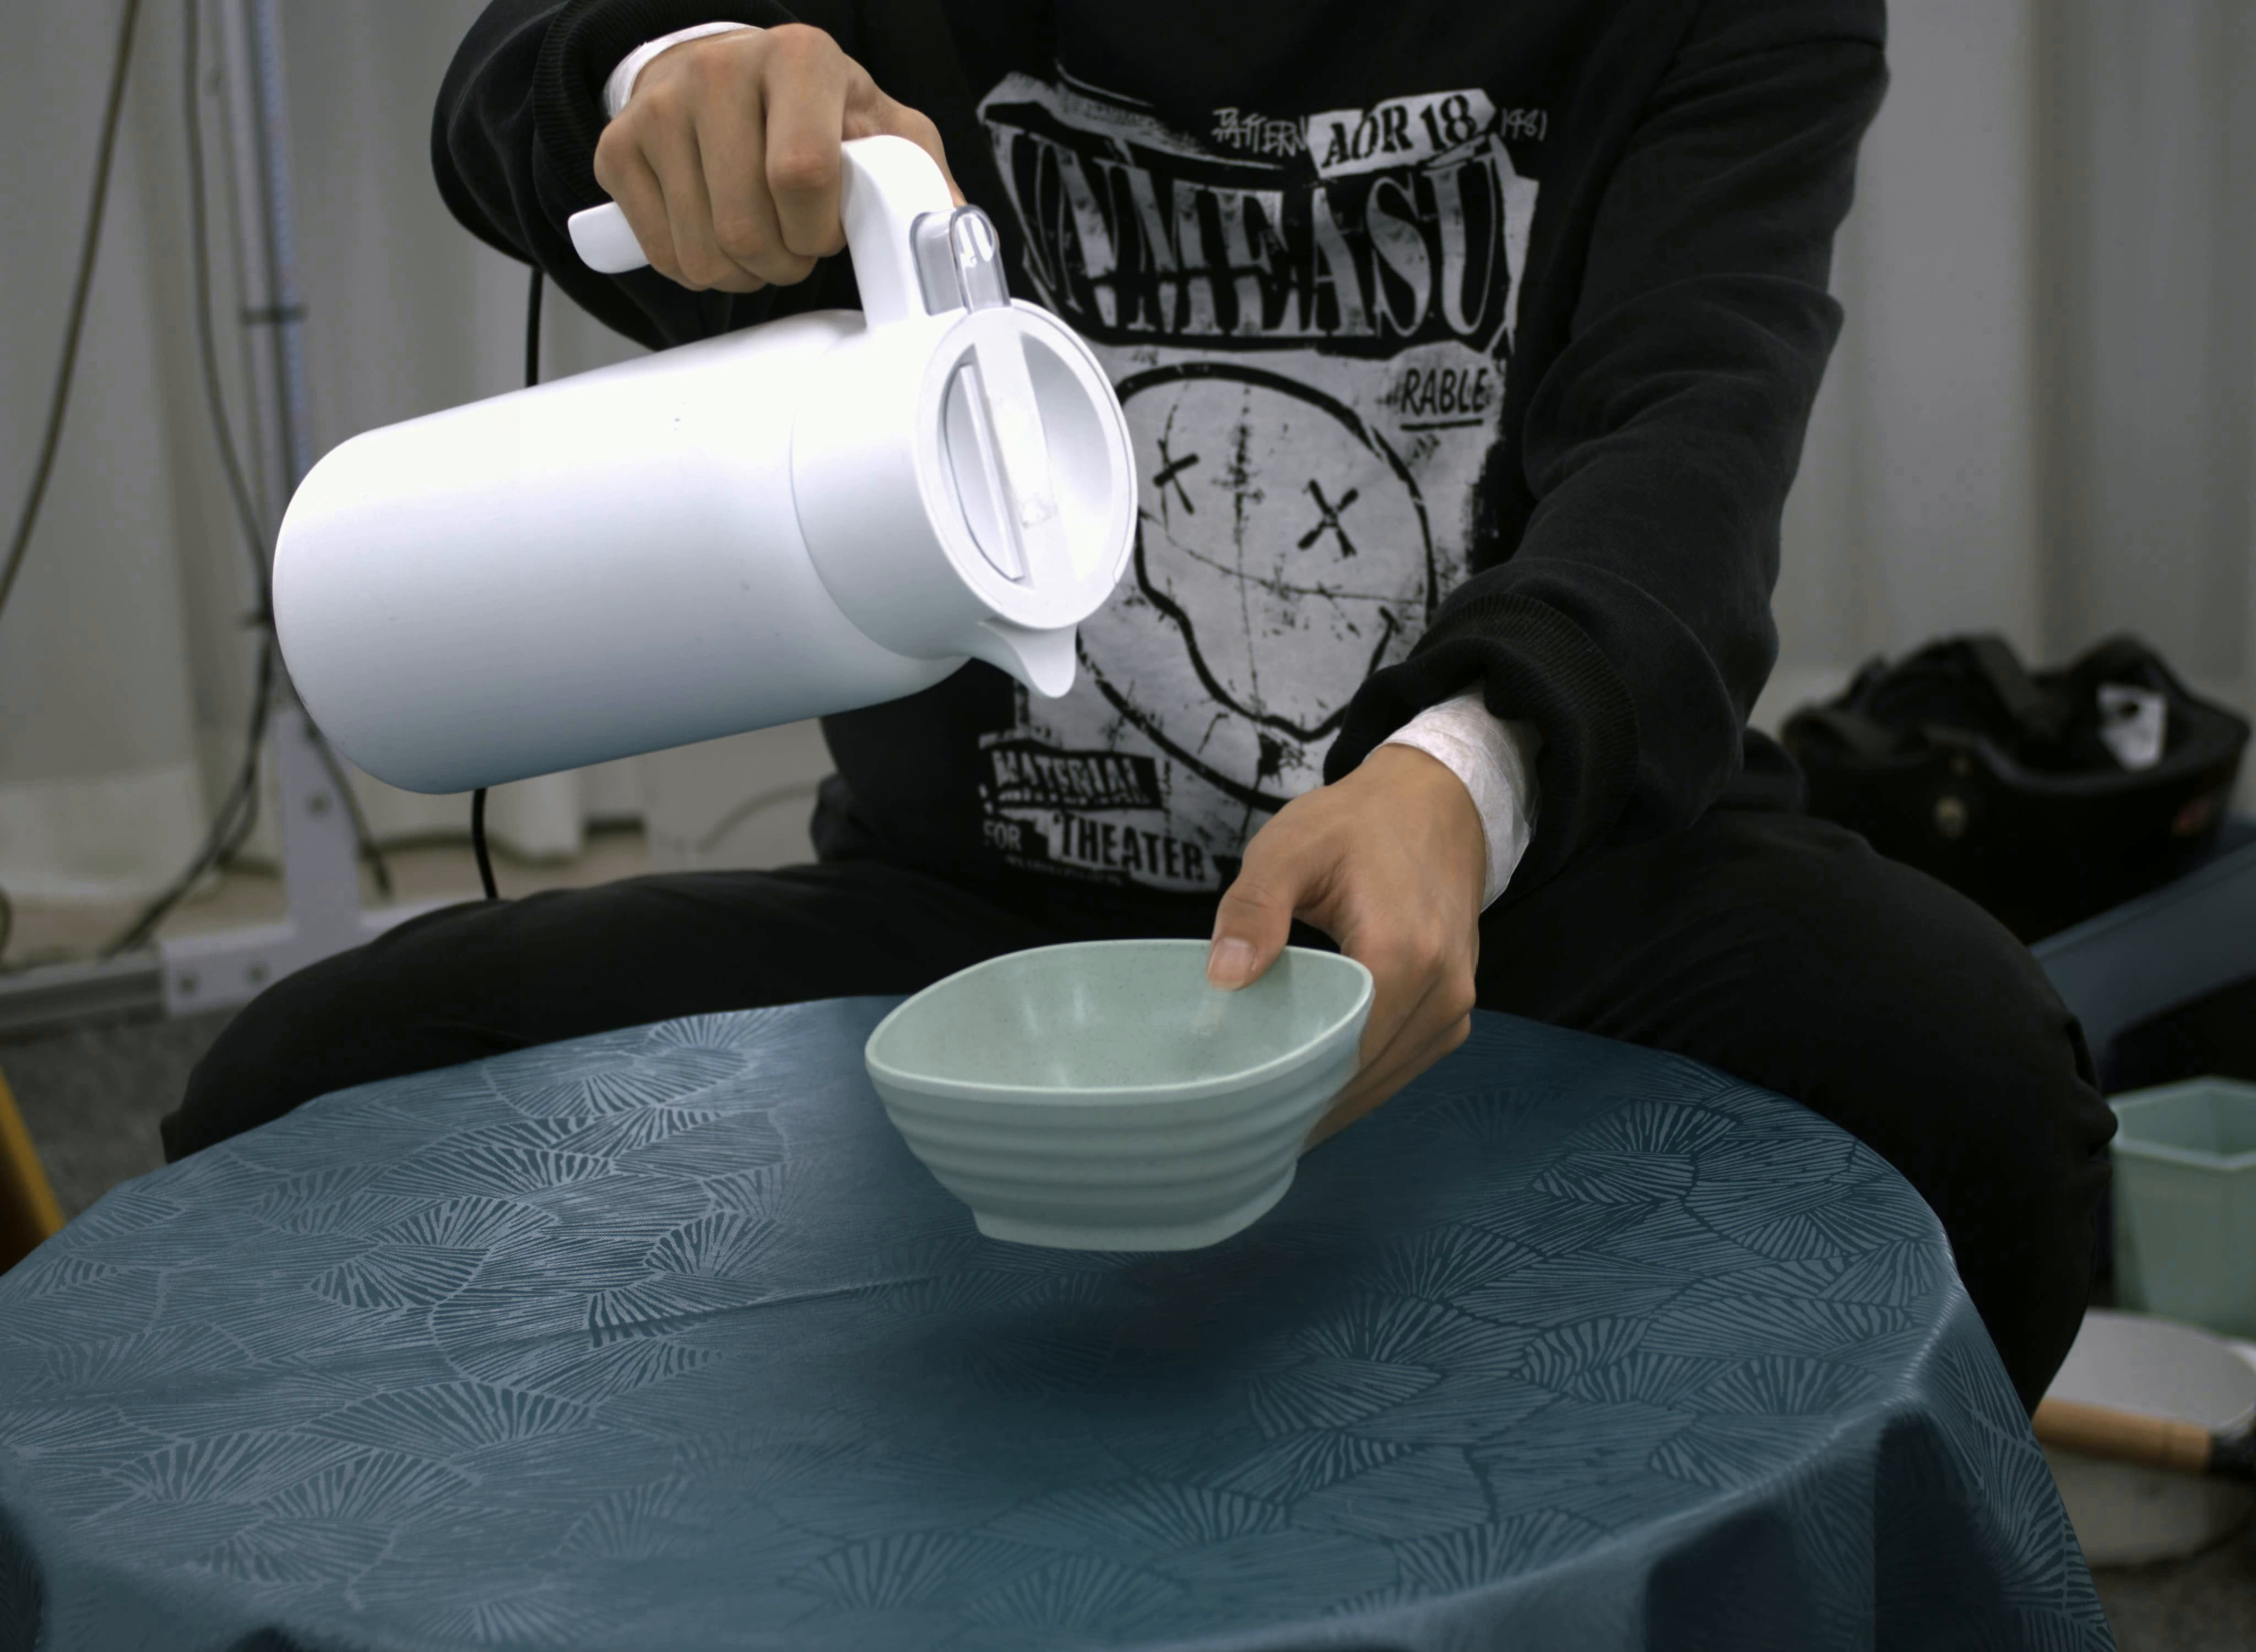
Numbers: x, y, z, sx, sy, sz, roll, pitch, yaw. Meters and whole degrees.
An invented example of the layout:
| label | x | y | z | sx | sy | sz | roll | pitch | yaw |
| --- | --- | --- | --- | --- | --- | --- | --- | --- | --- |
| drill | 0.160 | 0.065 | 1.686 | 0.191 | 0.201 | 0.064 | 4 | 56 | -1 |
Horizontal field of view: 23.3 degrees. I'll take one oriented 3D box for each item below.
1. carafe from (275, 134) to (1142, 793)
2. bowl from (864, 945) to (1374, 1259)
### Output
| label | x | y | z | sx | sy | sz | roll | pitch | yaw |
| --- | --- | --- | --- | --- | --- | --- | --- | --- | --- |
| carafe | -0.133 | -0.102 | 1.642 | 0.269 | 0.173 | 0.124 | -11 | 5 | 41 |
| bowl | 0.000 | 0.082 | 1.564 | 0.151 | 0.058 | 0.152 | -4 | 15 | 1 |
